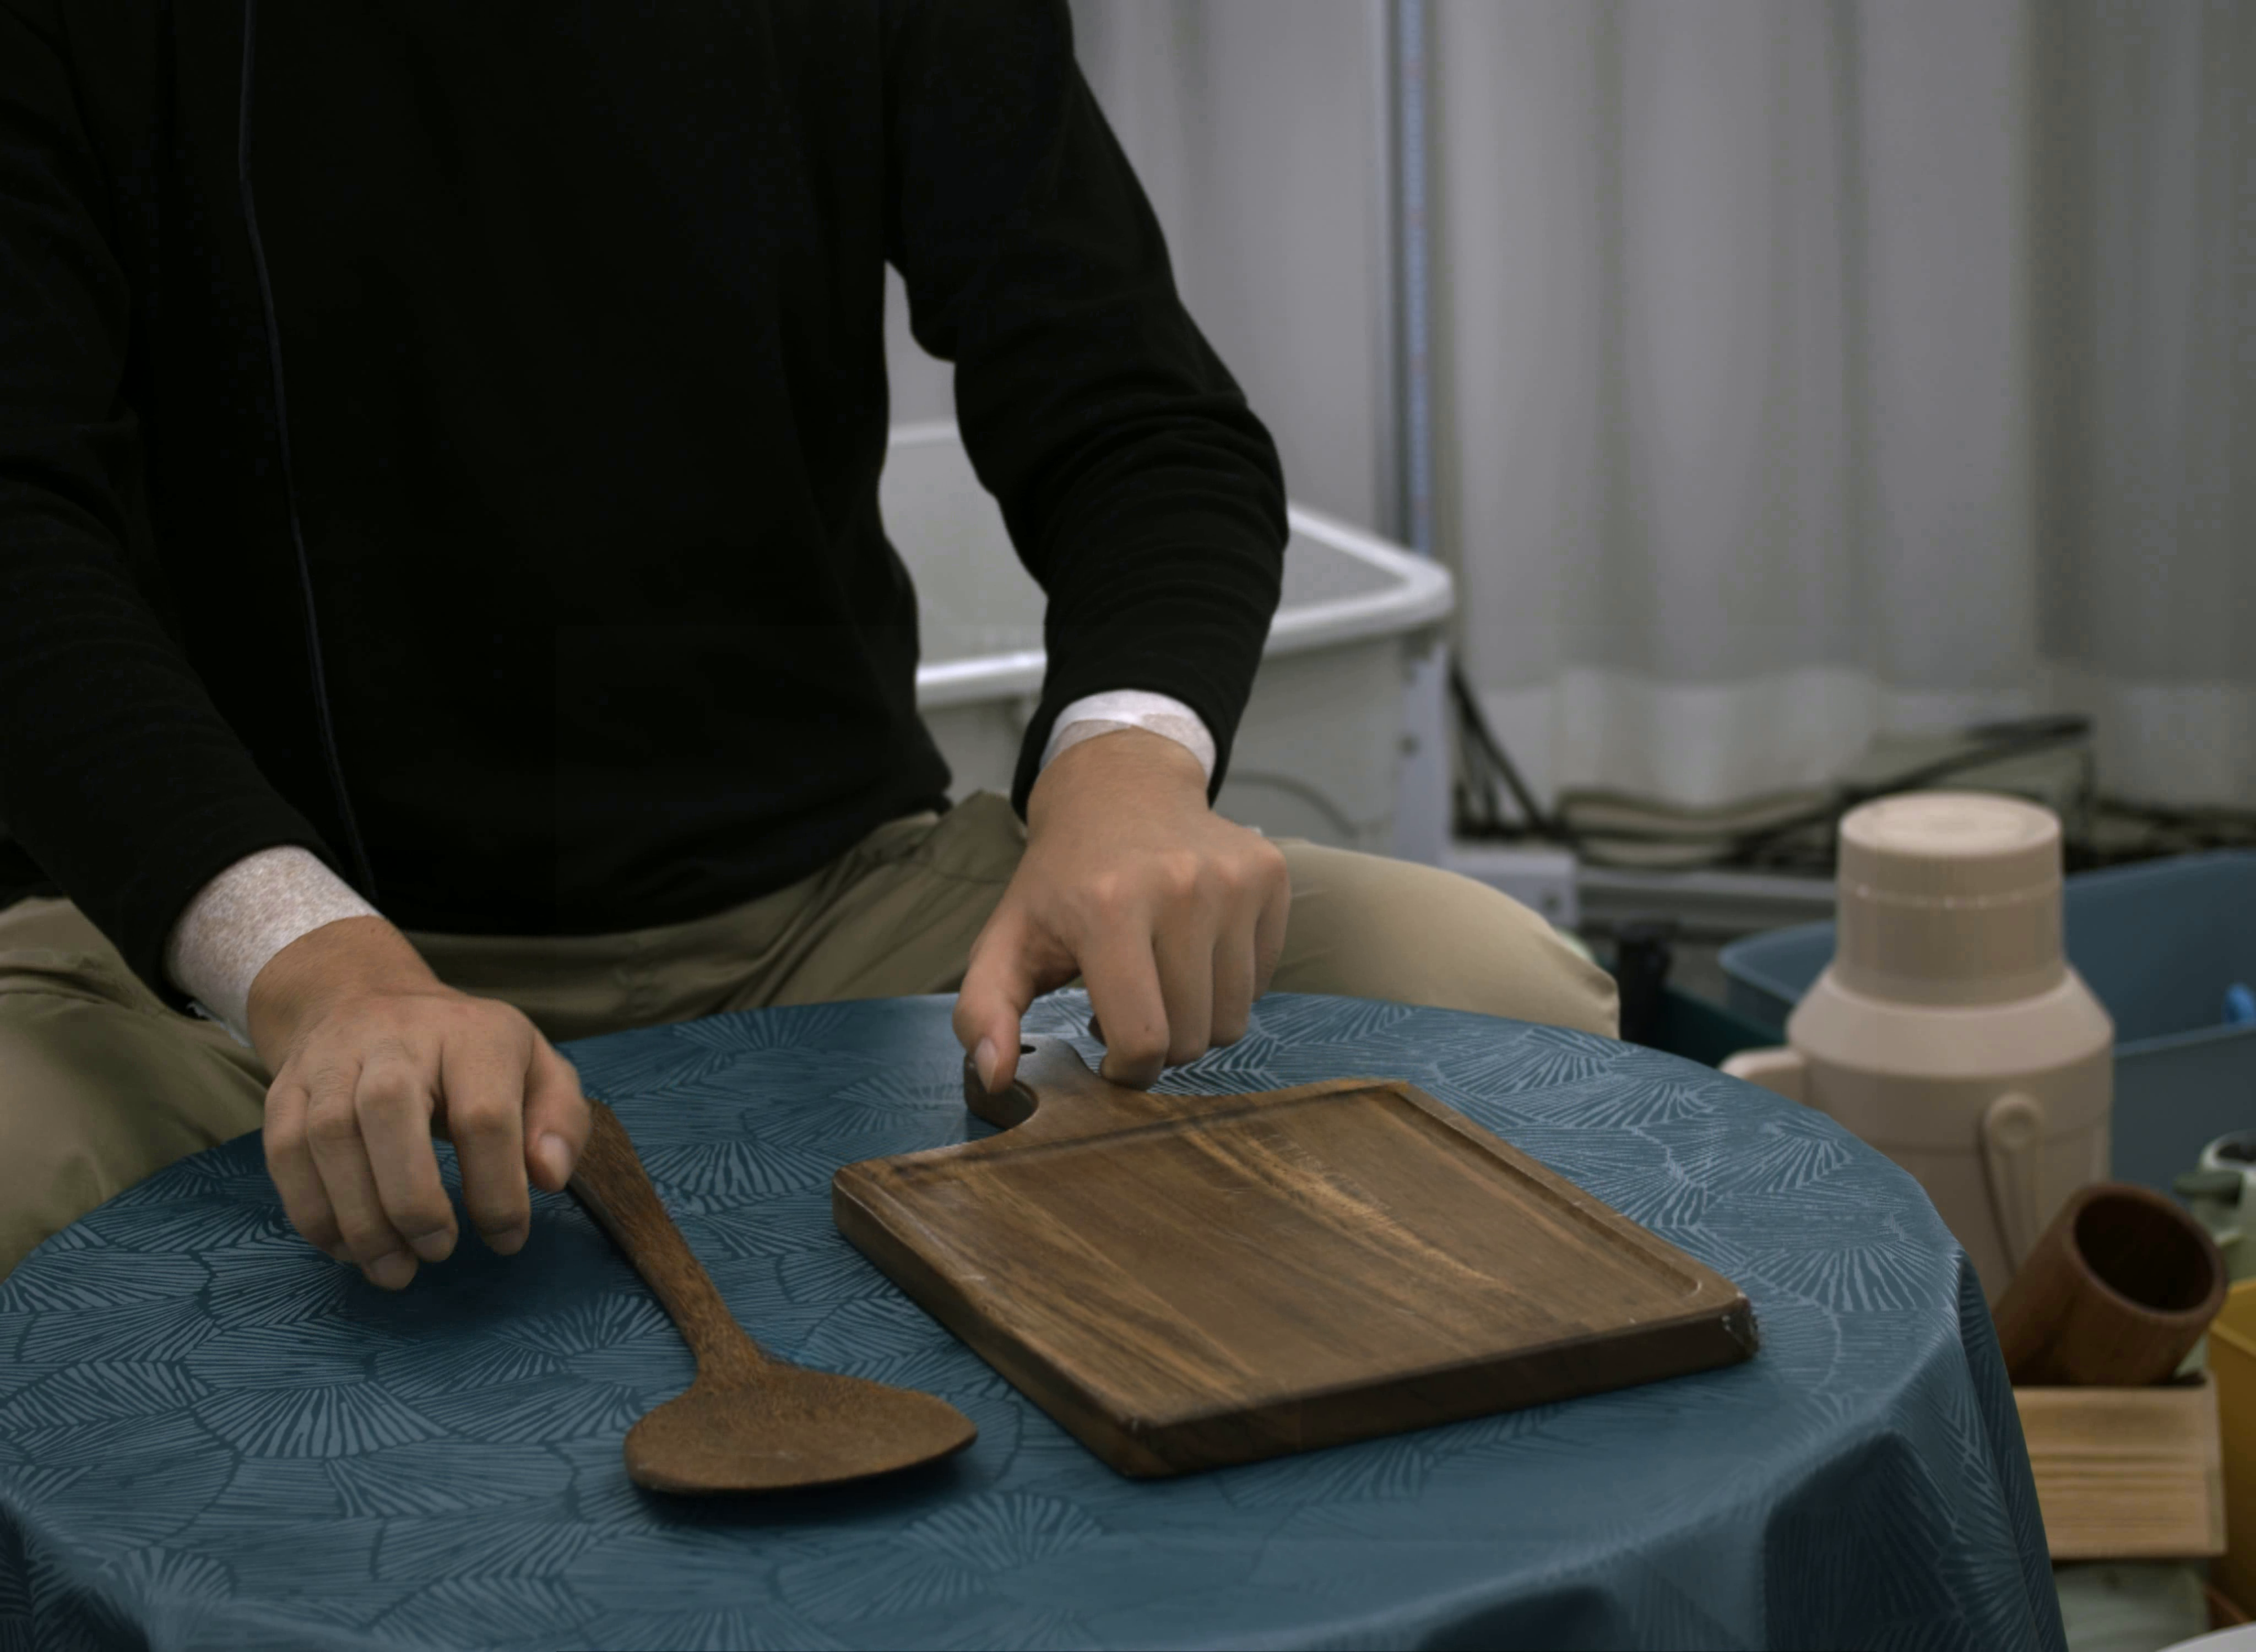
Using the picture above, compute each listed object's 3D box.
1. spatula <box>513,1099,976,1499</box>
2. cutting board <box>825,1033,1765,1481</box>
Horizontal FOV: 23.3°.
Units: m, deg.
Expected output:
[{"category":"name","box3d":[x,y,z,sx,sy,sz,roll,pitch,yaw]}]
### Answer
[{"category":"spatula","box3d":[-0.136,0.135,1.637,0.095,0.016,0.389,-7,15,-16]},{"category":"cutting board","box3d":[0.024,0.117,1.661,0.200,0.023,0.355,-9,16,-21]}]
